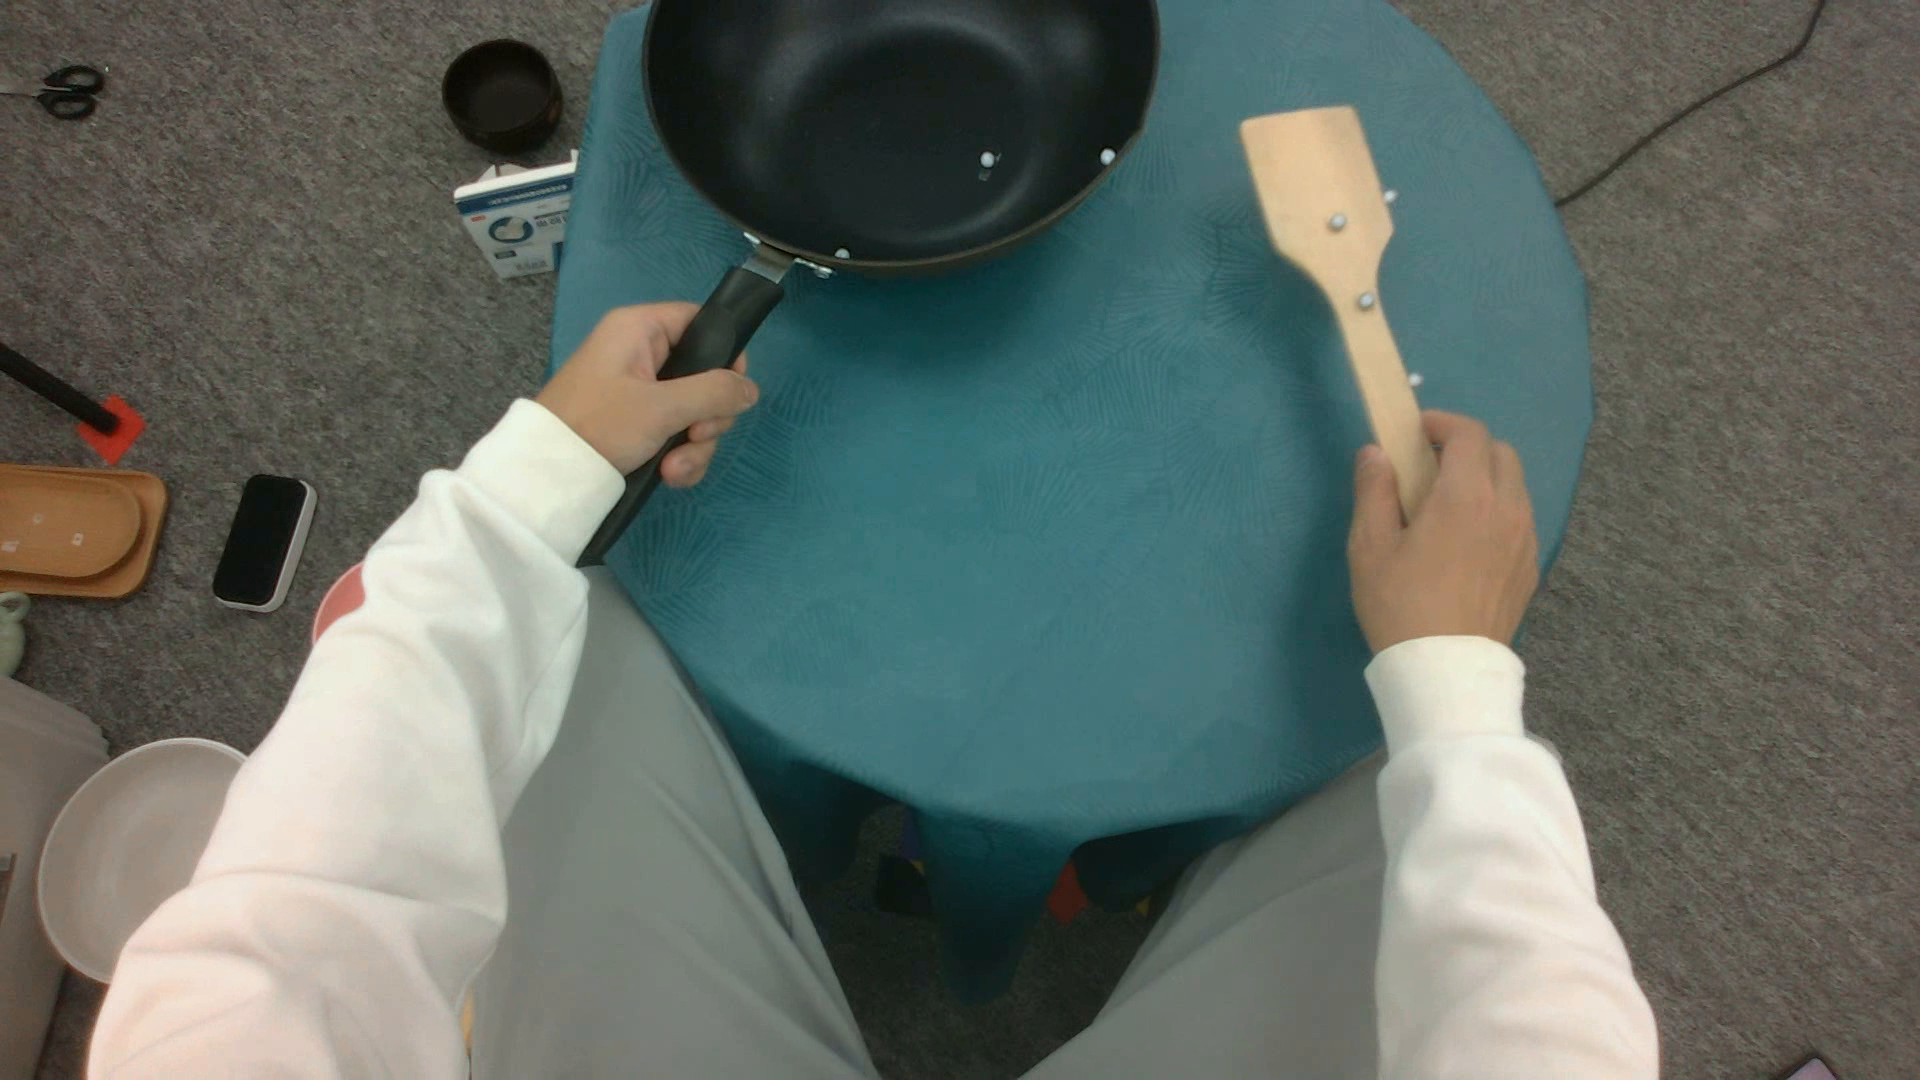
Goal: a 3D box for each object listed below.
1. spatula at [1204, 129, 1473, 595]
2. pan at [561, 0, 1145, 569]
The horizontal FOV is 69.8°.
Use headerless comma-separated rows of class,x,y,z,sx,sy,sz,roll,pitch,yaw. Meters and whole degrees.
spatula,0.214,-0.104,0.755,0.072,0.010,0.293,-14,69,-9
pan,-0.076,-0.174,0.775,0.288,0.086,0.464,23,74,14
